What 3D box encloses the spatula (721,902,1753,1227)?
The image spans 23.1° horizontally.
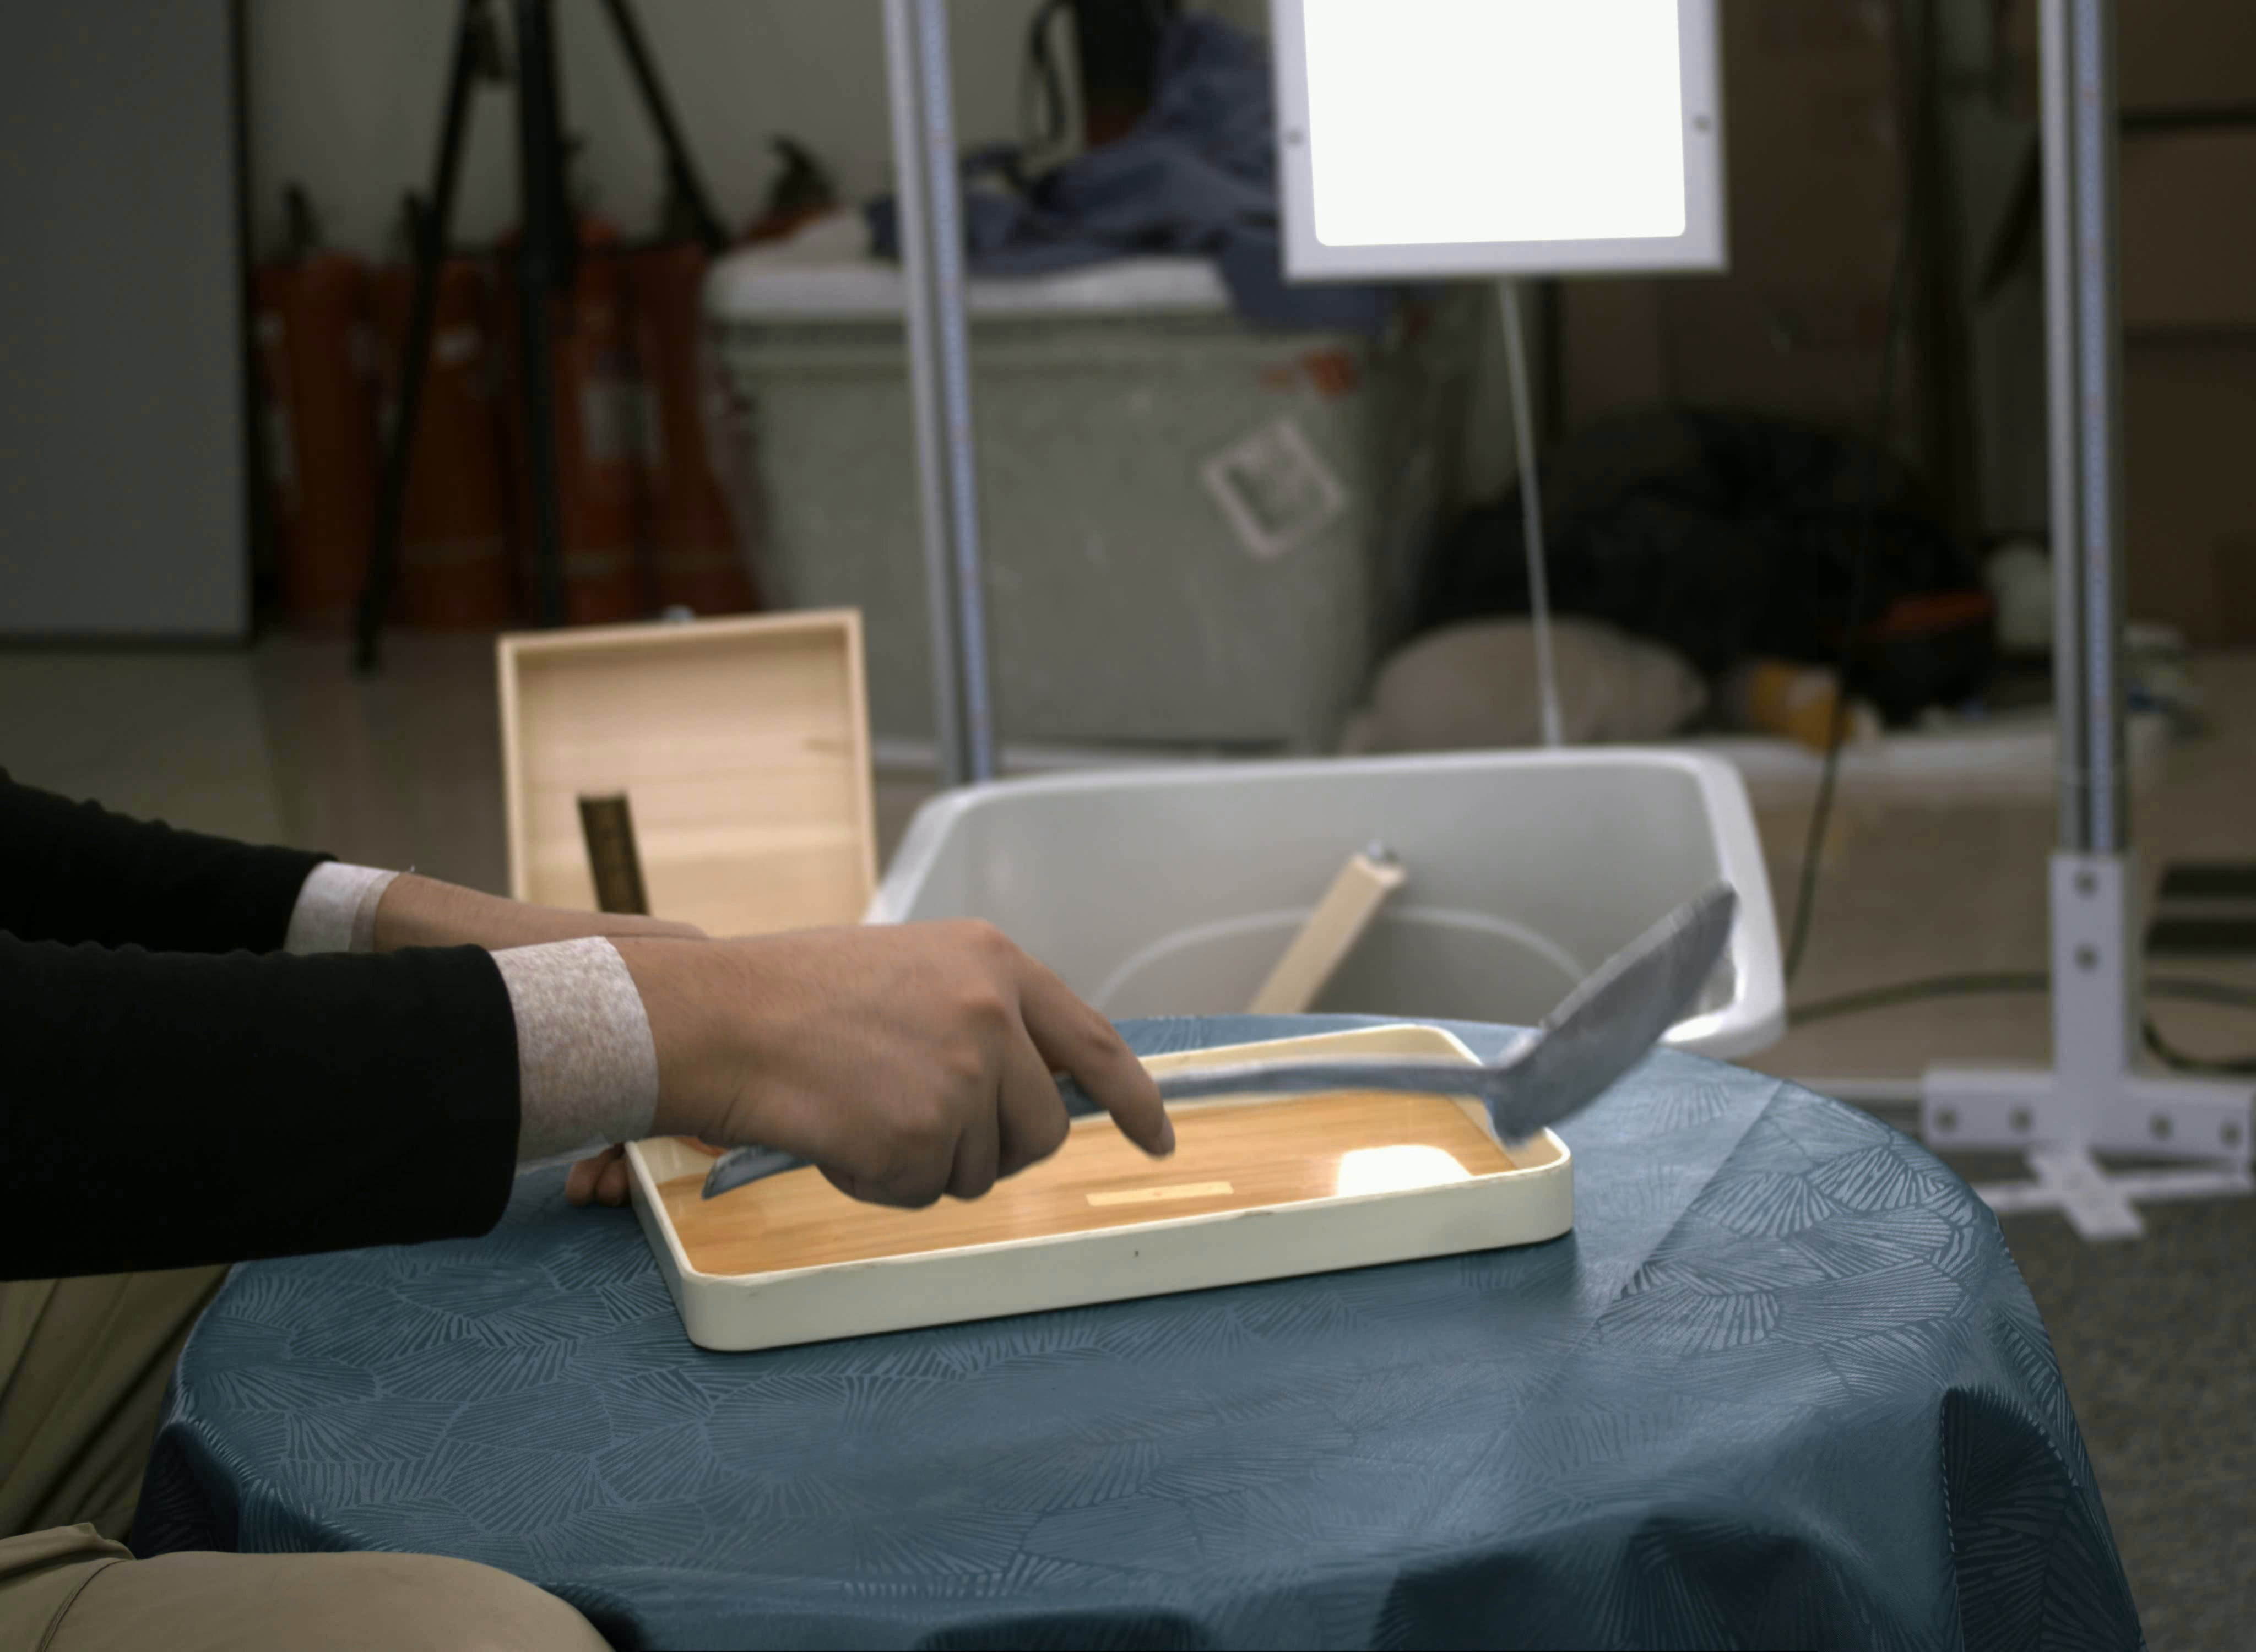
[{"bbox_3d":[0.039,0.080,1.679,0.357,0.100,0.045,-4,52,-25],"label":"spatula"}]

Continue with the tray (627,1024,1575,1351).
[{"bbox_3d":[-0.013,0.120,1.871,0.297,0.027,0.192,-7,14,-8],"label":"tray"}]
